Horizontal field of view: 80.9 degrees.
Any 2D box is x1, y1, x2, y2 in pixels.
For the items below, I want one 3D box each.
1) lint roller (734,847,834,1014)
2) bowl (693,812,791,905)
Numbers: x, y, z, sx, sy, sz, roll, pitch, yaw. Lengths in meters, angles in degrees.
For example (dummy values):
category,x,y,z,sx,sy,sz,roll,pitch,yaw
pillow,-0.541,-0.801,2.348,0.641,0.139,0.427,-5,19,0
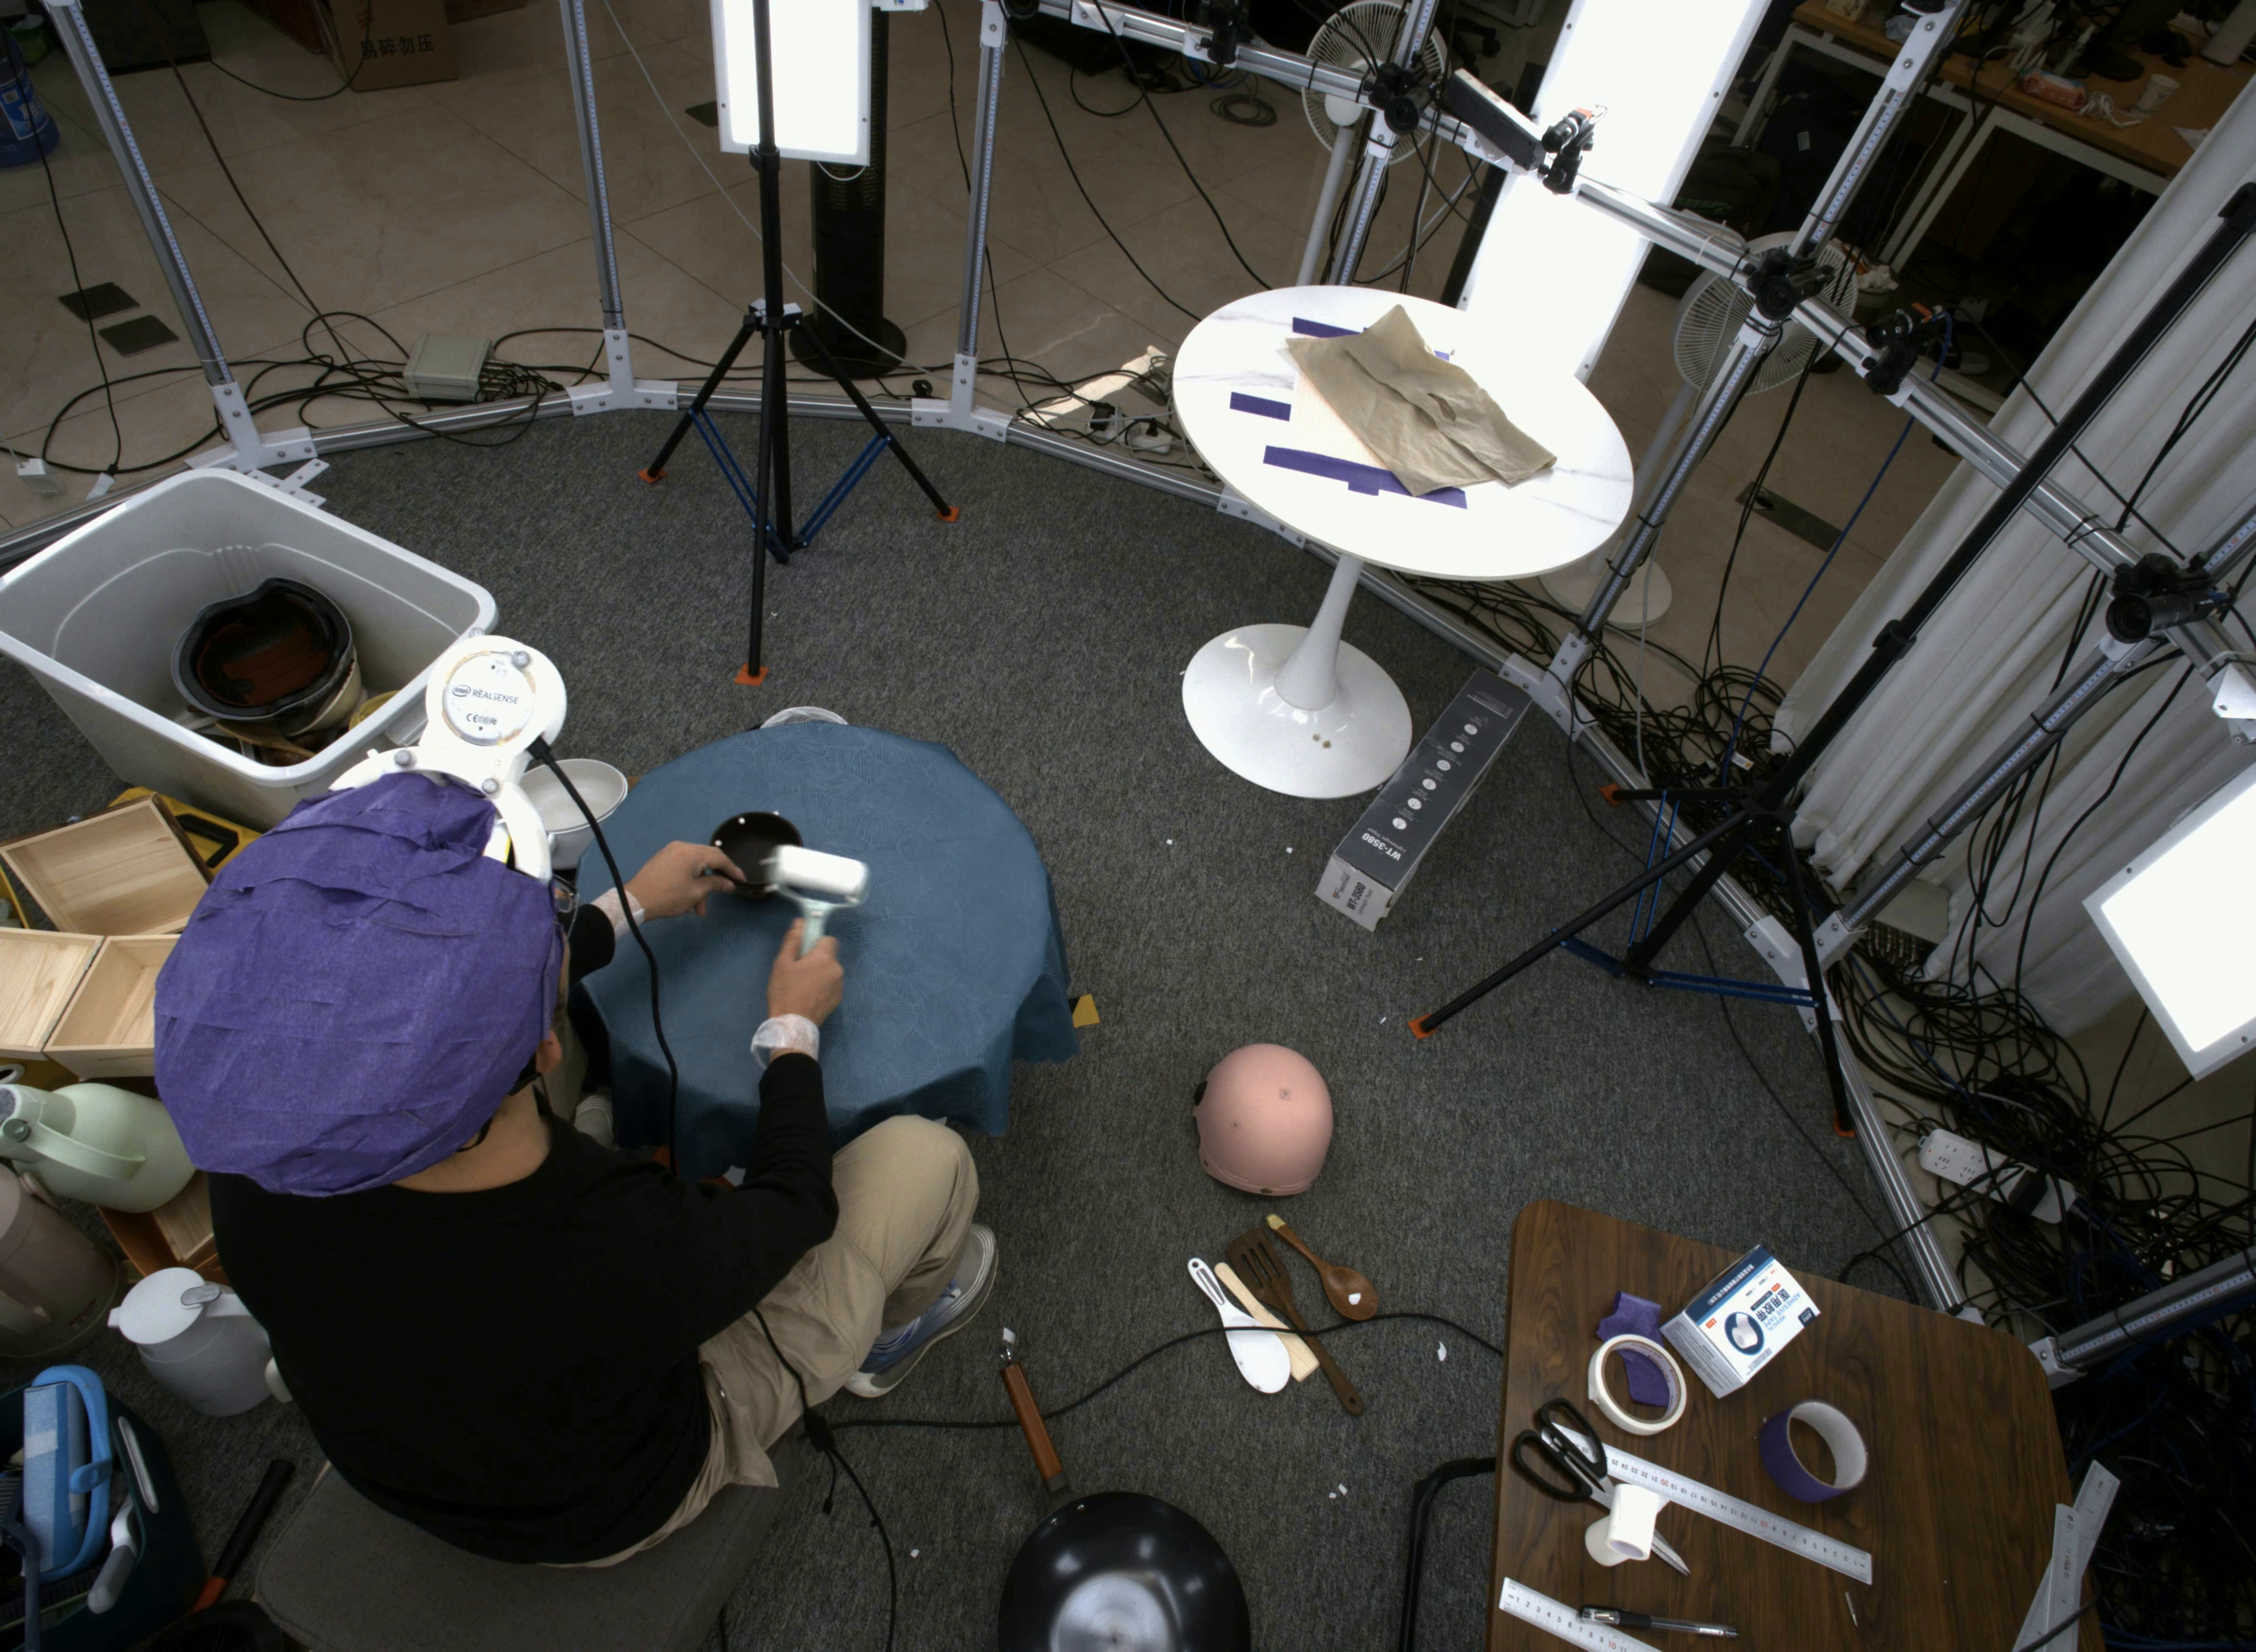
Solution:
category,x,y,z,sx,sy,sz,roll,pitch,yaw
lint roller,-0.410,0.120,1.542,0.118,0.048,0.196,8,66,-30
bowl,-0.483,0.047,1.622,0.118,0.071,0.116,8,53,-9
